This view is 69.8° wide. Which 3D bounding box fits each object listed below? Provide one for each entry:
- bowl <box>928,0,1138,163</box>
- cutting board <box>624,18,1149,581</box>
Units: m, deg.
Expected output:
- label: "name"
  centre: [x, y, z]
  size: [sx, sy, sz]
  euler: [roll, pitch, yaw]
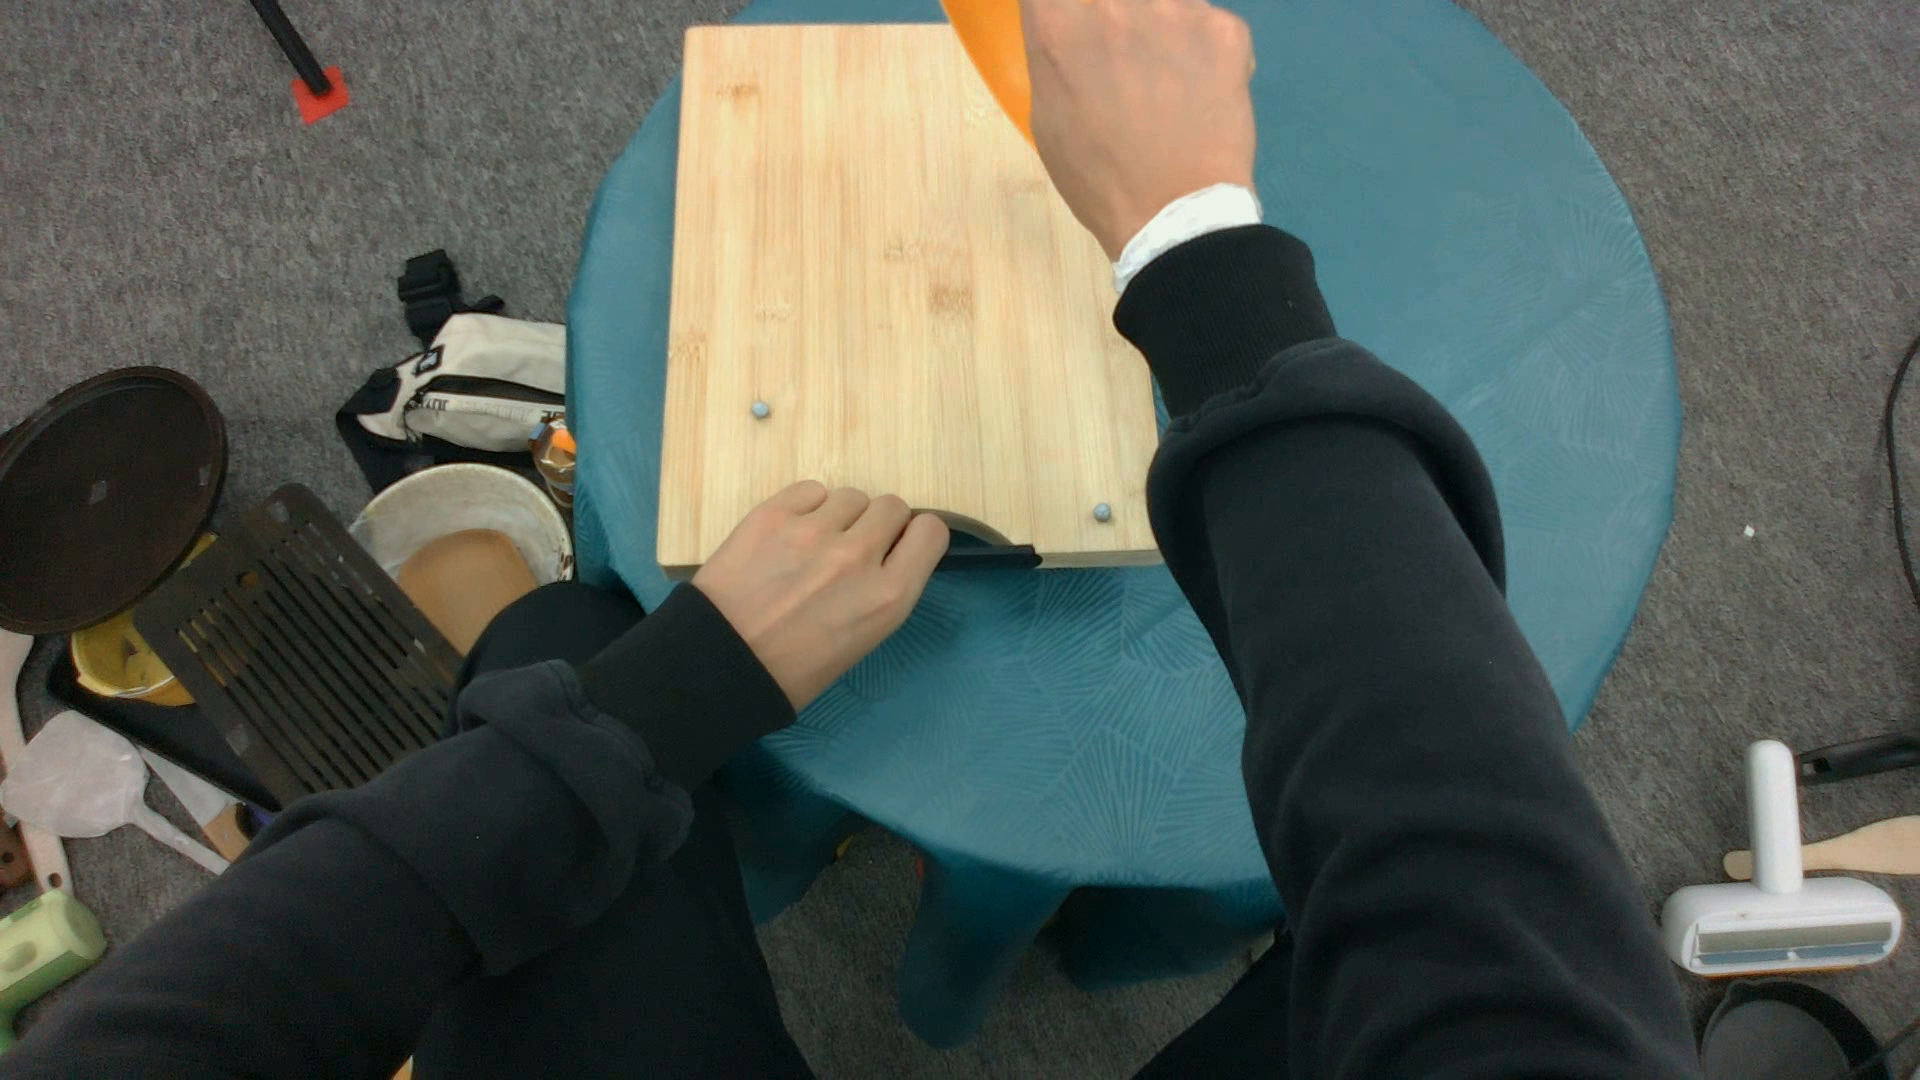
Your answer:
- label: "bowl"
  centre: [0.035, -0.243, 0.606]
  size: [0.060, 0.145, 0.145]
  euler: [-38, 76, -3]
- label: "cutting board"
  centre: [-0.042, -0.141, 0.717]
  size: [0.251, 0.023, 0.350]
  euler: [-3, 63, -4]
